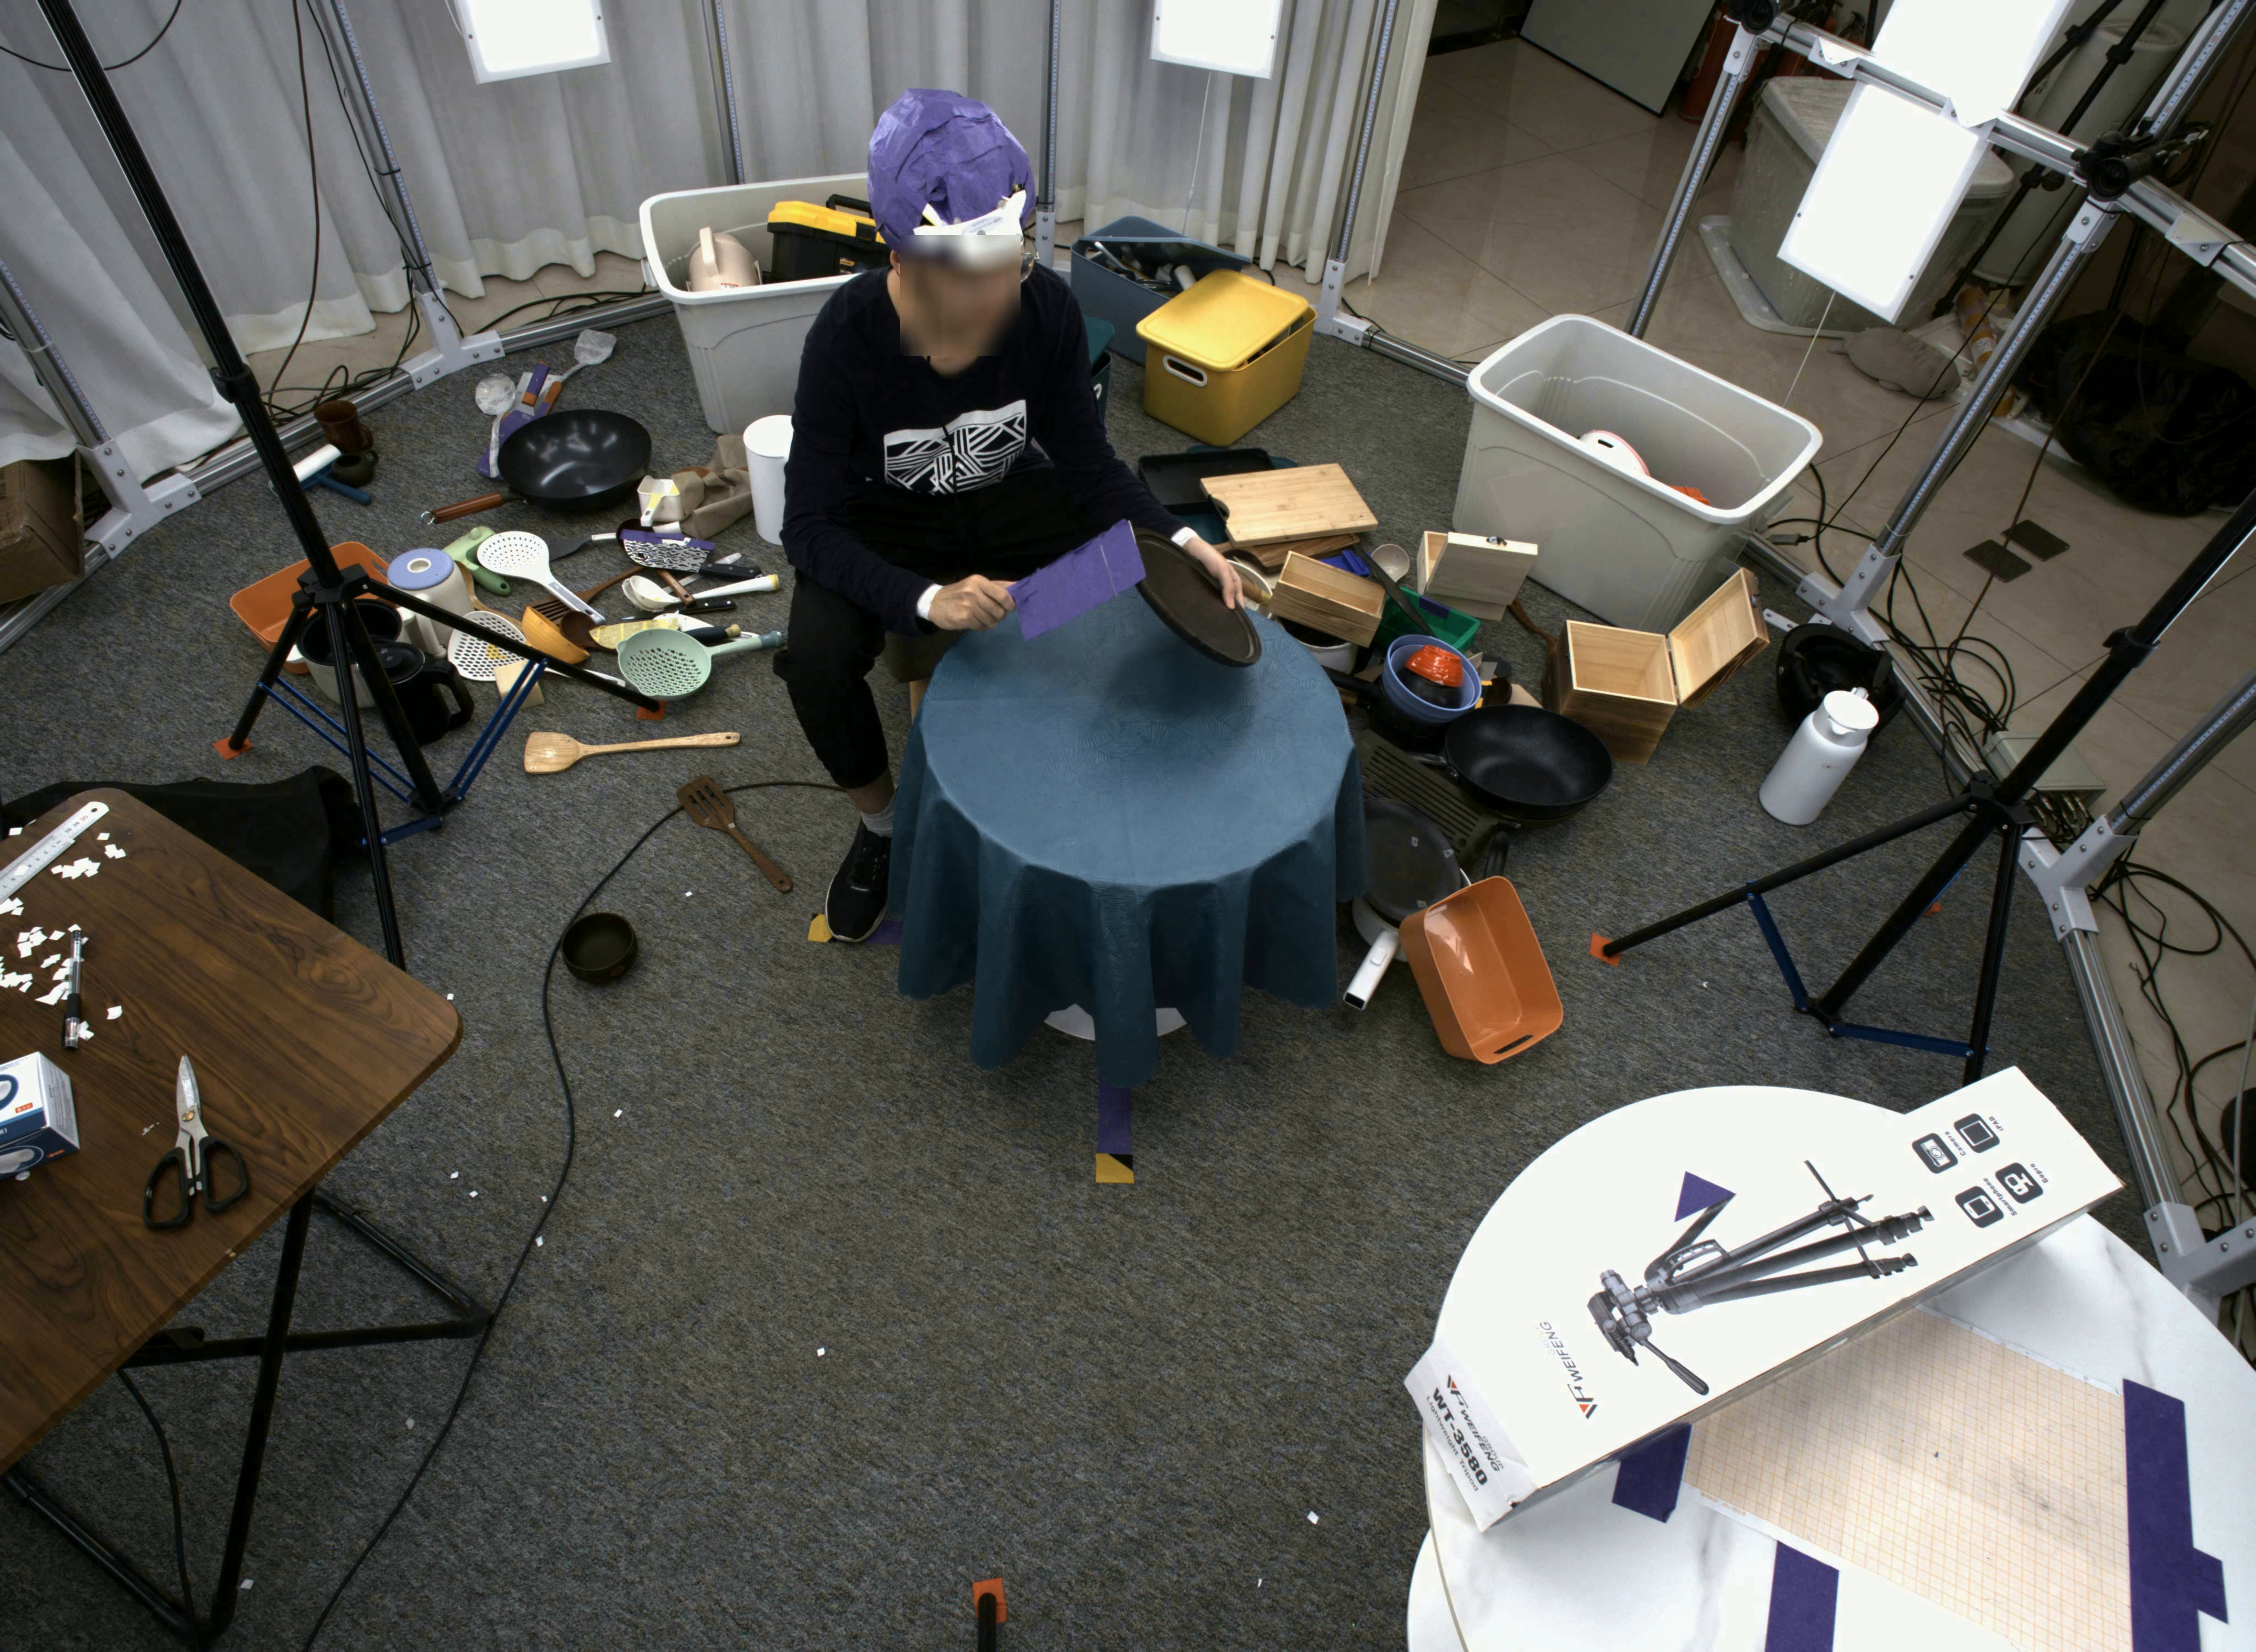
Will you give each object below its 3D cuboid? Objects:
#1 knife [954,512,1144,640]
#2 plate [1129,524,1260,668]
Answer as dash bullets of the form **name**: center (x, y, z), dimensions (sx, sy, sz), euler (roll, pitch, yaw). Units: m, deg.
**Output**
- **knife**: center (-0.113, -0.316, 1.768), dimensions (0.032, 0.313, 0.105), euler (10, 61, -53)
- **plate**: center (0.087, -0.317, 1.791), dimensions (0.251, 0.029, 0.261), euler (33, 32, -23)
